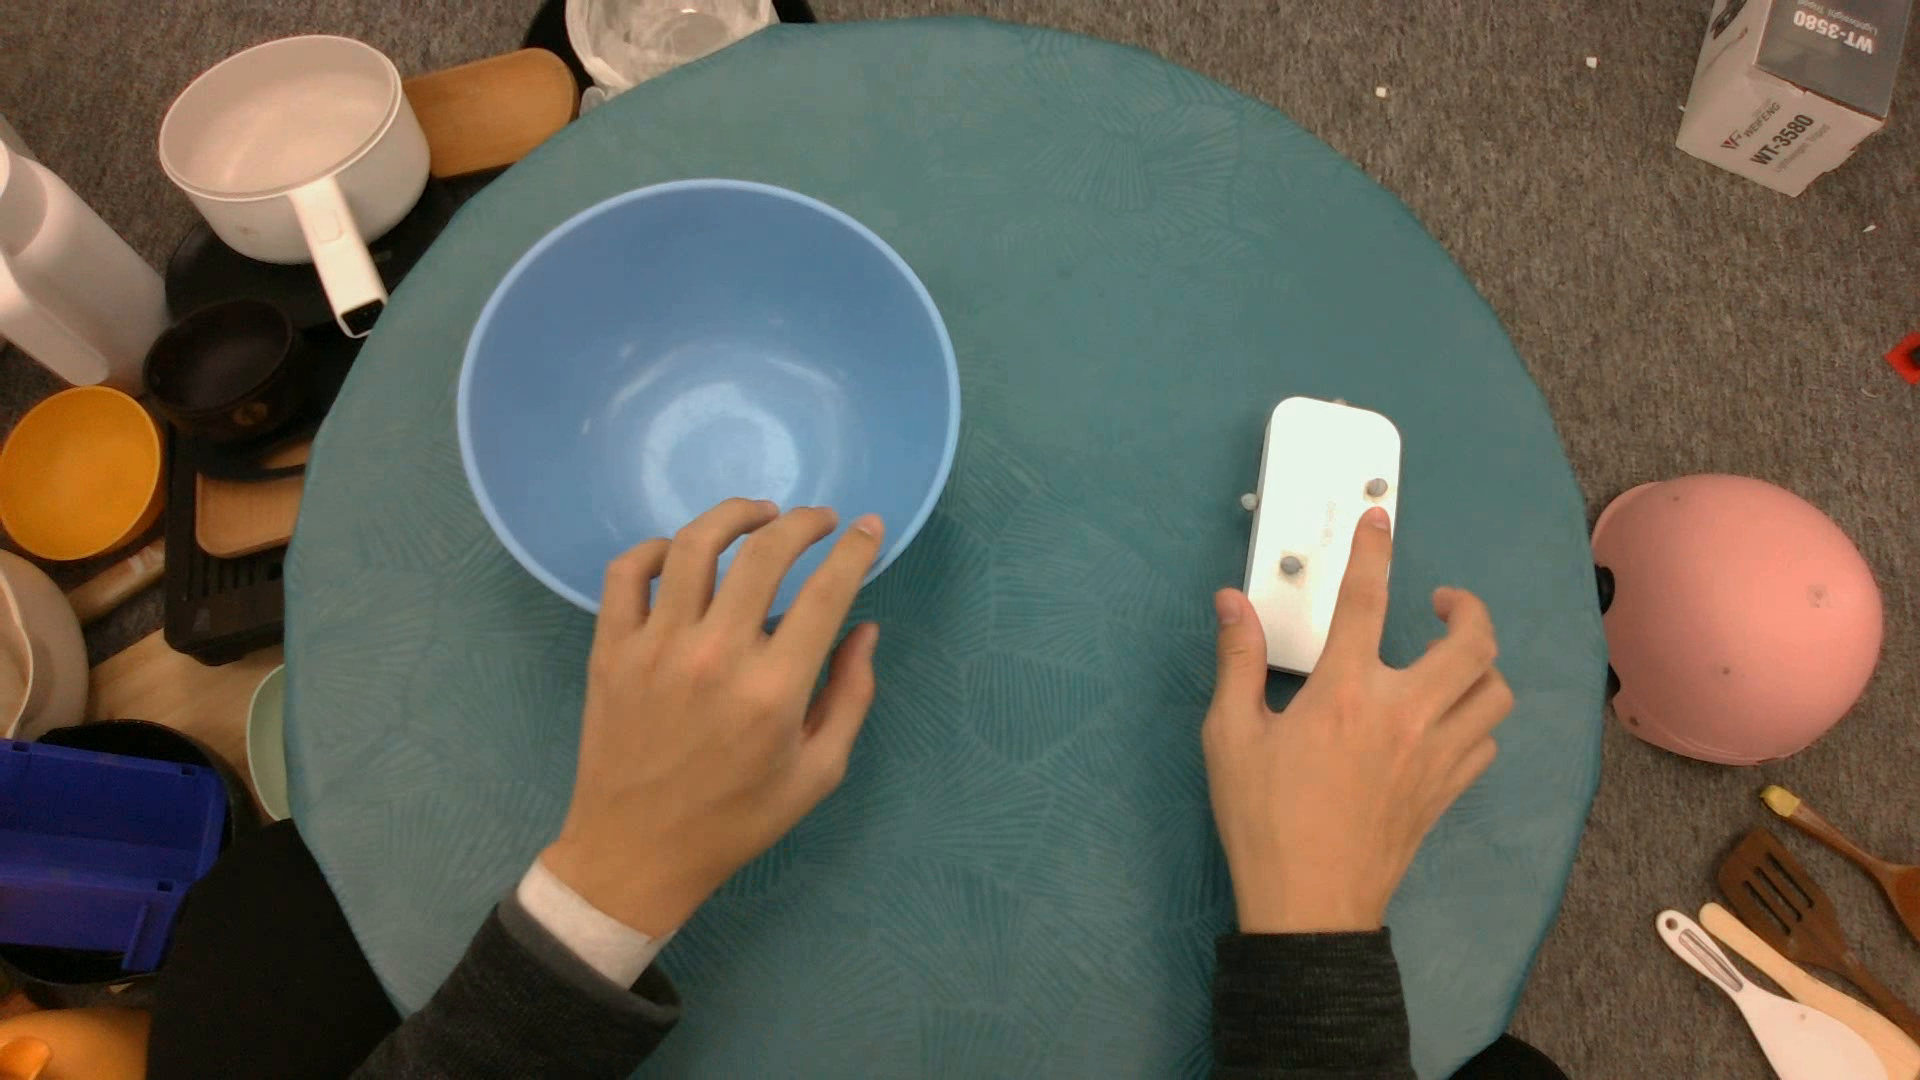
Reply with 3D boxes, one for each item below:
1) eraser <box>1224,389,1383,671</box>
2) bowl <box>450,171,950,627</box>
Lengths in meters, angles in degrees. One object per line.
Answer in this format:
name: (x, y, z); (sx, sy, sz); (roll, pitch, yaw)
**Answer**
eraser: (0.157, -0.006, 0.636); (0.063, 0.034, 0.131); (12, 71, -1)
bowl: (-0.106, -0.048, 0.592); (0.196, 0.095, 0.197); (2, 72, -6)
